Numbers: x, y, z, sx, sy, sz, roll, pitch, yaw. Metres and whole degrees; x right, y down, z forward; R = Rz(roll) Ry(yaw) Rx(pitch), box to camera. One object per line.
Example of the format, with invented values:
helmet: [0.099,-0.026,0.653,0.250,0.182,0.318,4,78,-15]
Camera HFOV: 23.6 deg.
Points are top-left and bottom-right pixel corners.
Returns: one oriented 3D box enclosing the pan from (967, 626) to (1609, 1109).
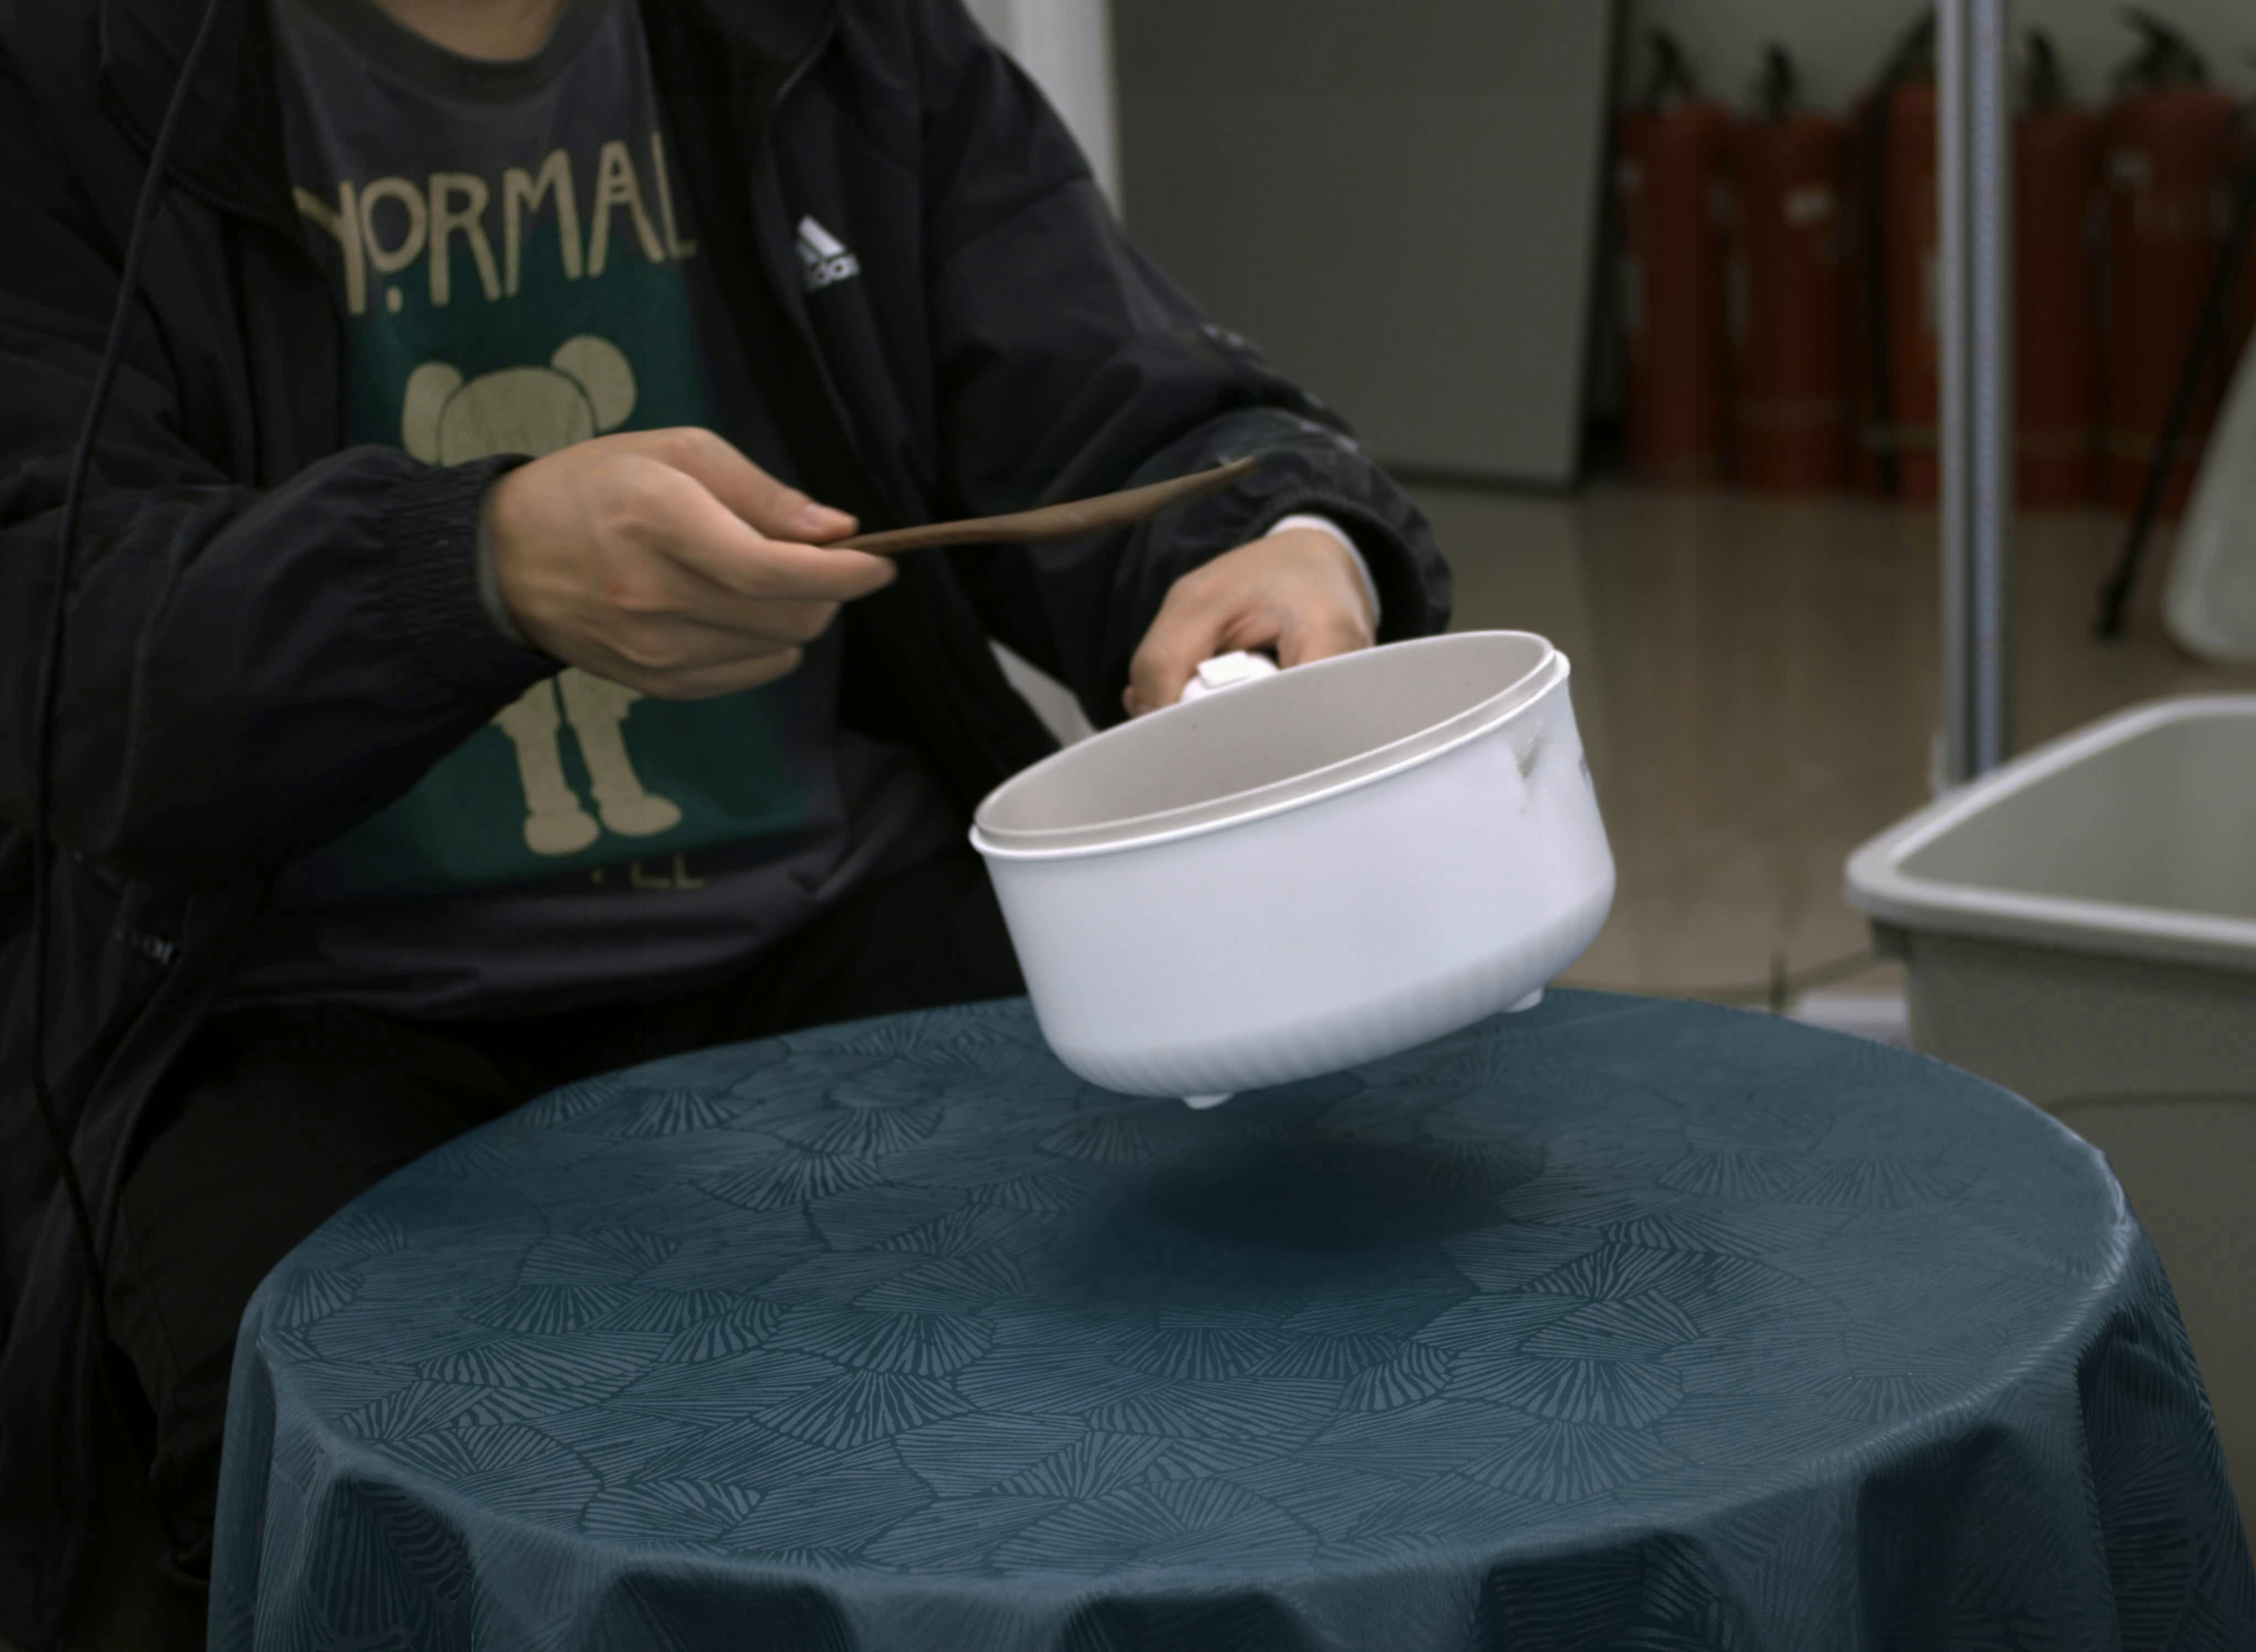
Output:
pan: [0.052,0.005,1.809,0.199,0.103,0.355,-18,8,0]

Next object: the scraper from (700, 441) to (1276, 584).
scraper: [-0.050,-0.097,1.750,0.212,0.011,0.075,-8,15,33]
